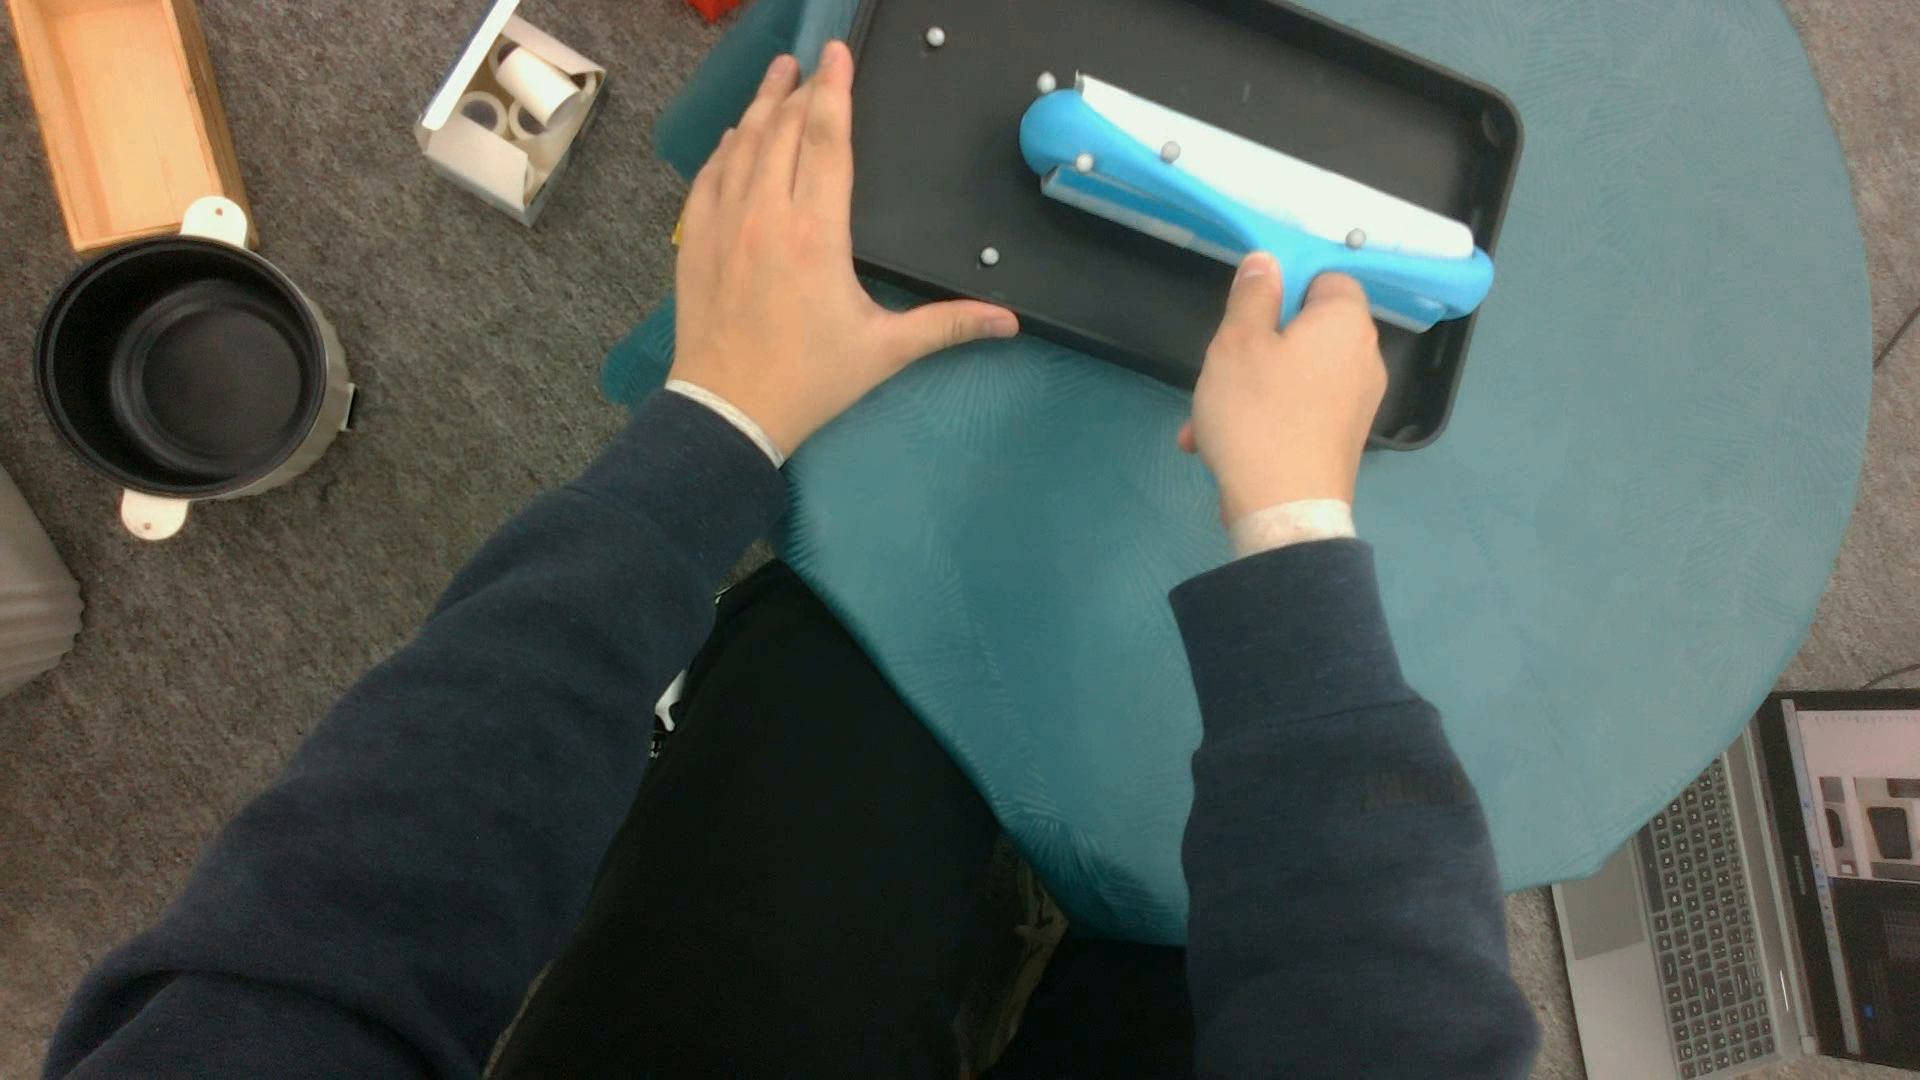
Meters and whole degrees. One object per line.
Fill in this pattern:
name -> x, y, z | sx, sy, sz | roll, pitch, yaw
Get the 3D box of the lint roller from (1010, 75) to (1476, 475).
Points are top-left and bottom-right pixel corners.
lint roller -> 0.129, -0.114, 0.608 | 0.229, 0.067, 0.181 | 15, 51, -13

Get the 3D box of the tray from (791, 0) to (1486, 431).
tray -> 0.090, -0.174, 0.652 | 0.318, 0.037, 0.184 | 14, 85, -13
